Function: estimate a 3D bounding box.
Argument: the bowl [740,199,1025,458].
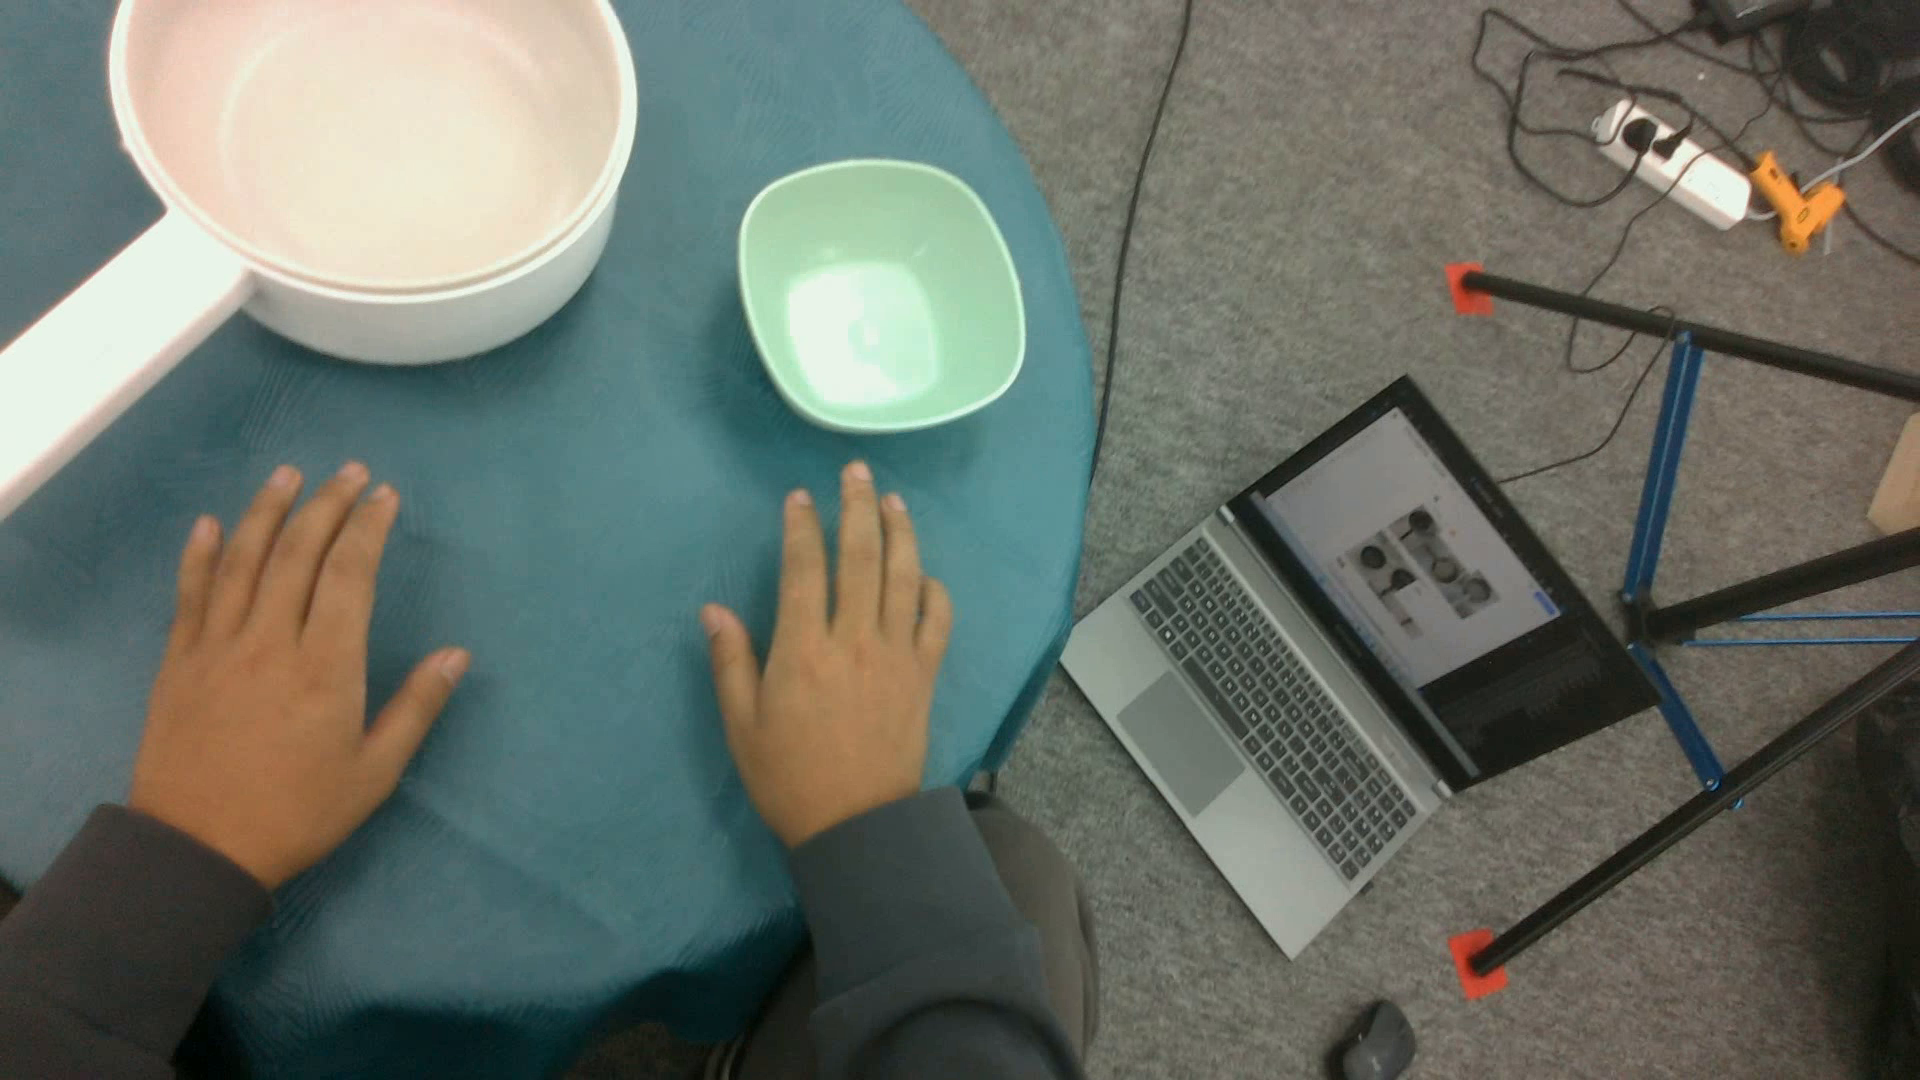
[{"bbox_3d":[-0.044,-0.099,0.704,0.151,0.058,0.152,6,69,-14],"label":"bowl"}]

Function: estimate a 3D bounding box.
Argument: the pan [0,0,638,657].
[{"bbox_3d":[-0.294,-0.095,0.610,0.201,0.101,0.356,35,67,-5],"label":"pan"}]
